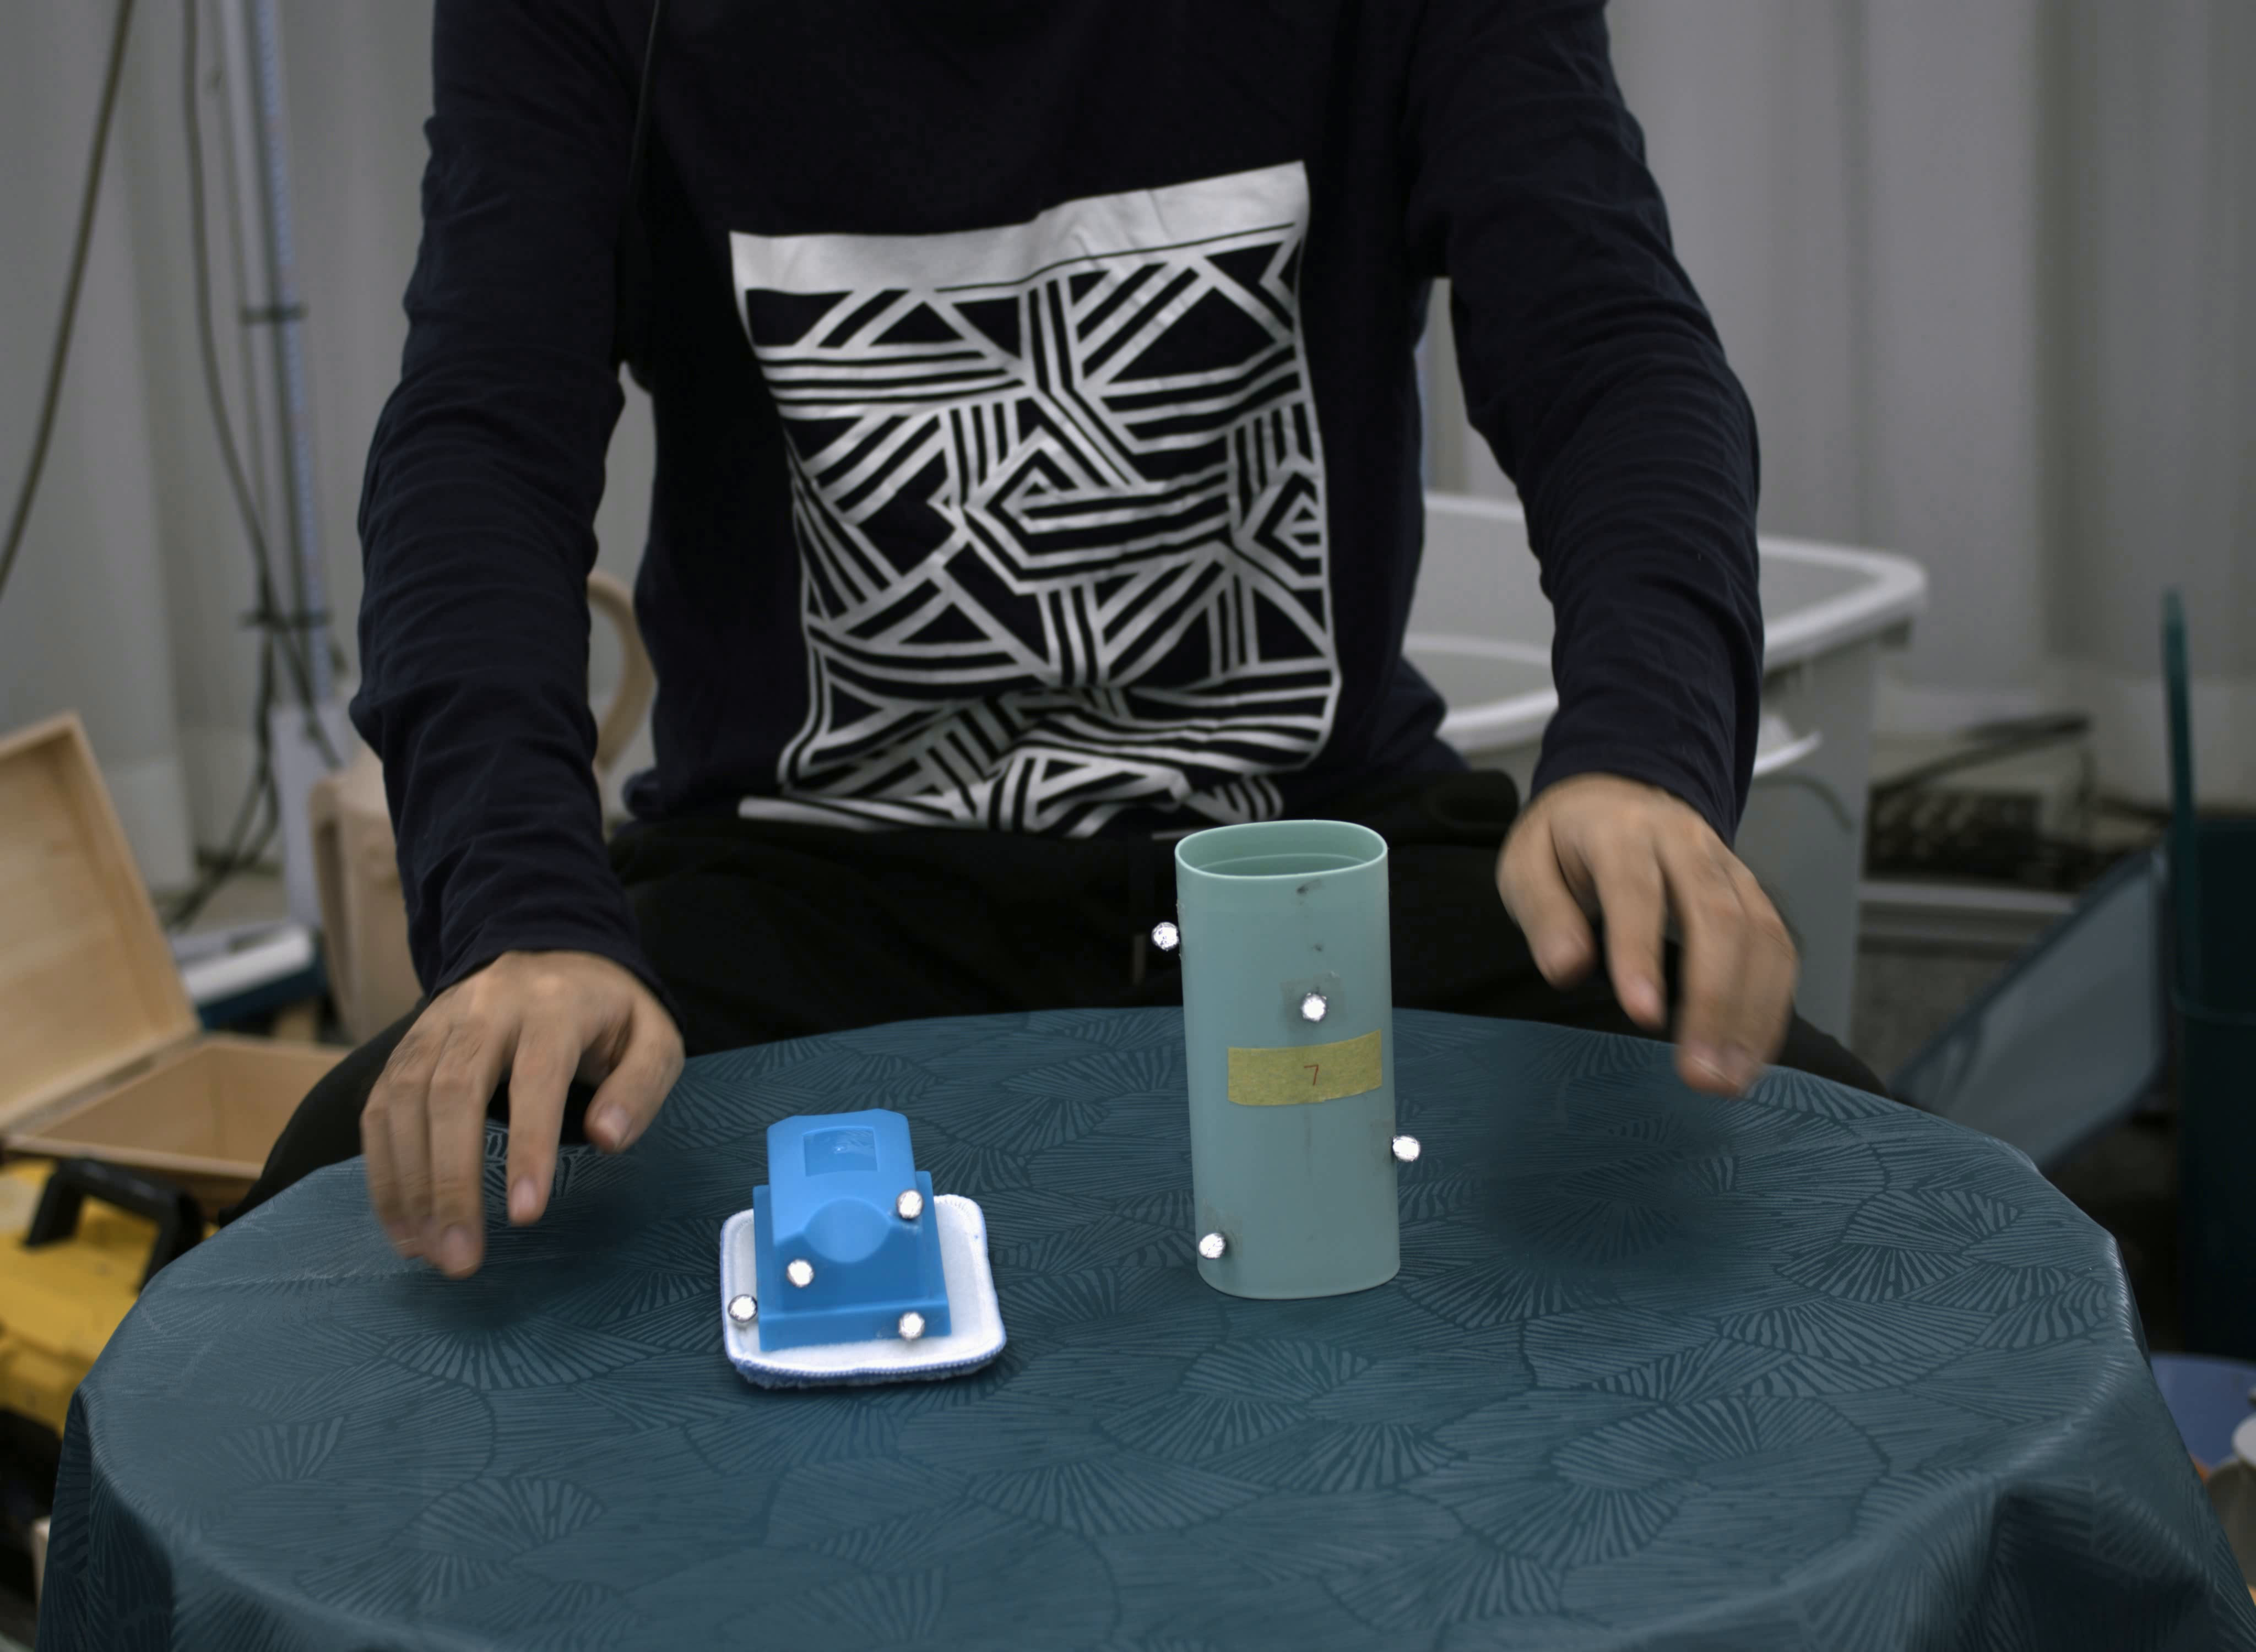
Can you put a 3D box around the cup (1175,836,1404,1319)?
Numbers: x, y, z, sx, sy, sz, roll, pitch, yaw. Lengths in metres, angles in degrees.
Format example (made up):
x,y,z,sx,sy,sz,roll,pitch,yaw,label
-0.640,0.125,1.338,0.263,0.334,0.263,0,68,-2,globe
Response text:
x,y,z,sx,sy,sz,roll,pitch,yaw,label
0.048,0.073,1.627,0.066,0.132,0.067,-4,13,1,cup

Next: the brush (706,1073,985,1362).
x,y,z,sx,sy,sz,roll,pitch,yaw,label
-0.084,0.113,1.621,0.083,0.055,0.145,-1,17,-2,brush
